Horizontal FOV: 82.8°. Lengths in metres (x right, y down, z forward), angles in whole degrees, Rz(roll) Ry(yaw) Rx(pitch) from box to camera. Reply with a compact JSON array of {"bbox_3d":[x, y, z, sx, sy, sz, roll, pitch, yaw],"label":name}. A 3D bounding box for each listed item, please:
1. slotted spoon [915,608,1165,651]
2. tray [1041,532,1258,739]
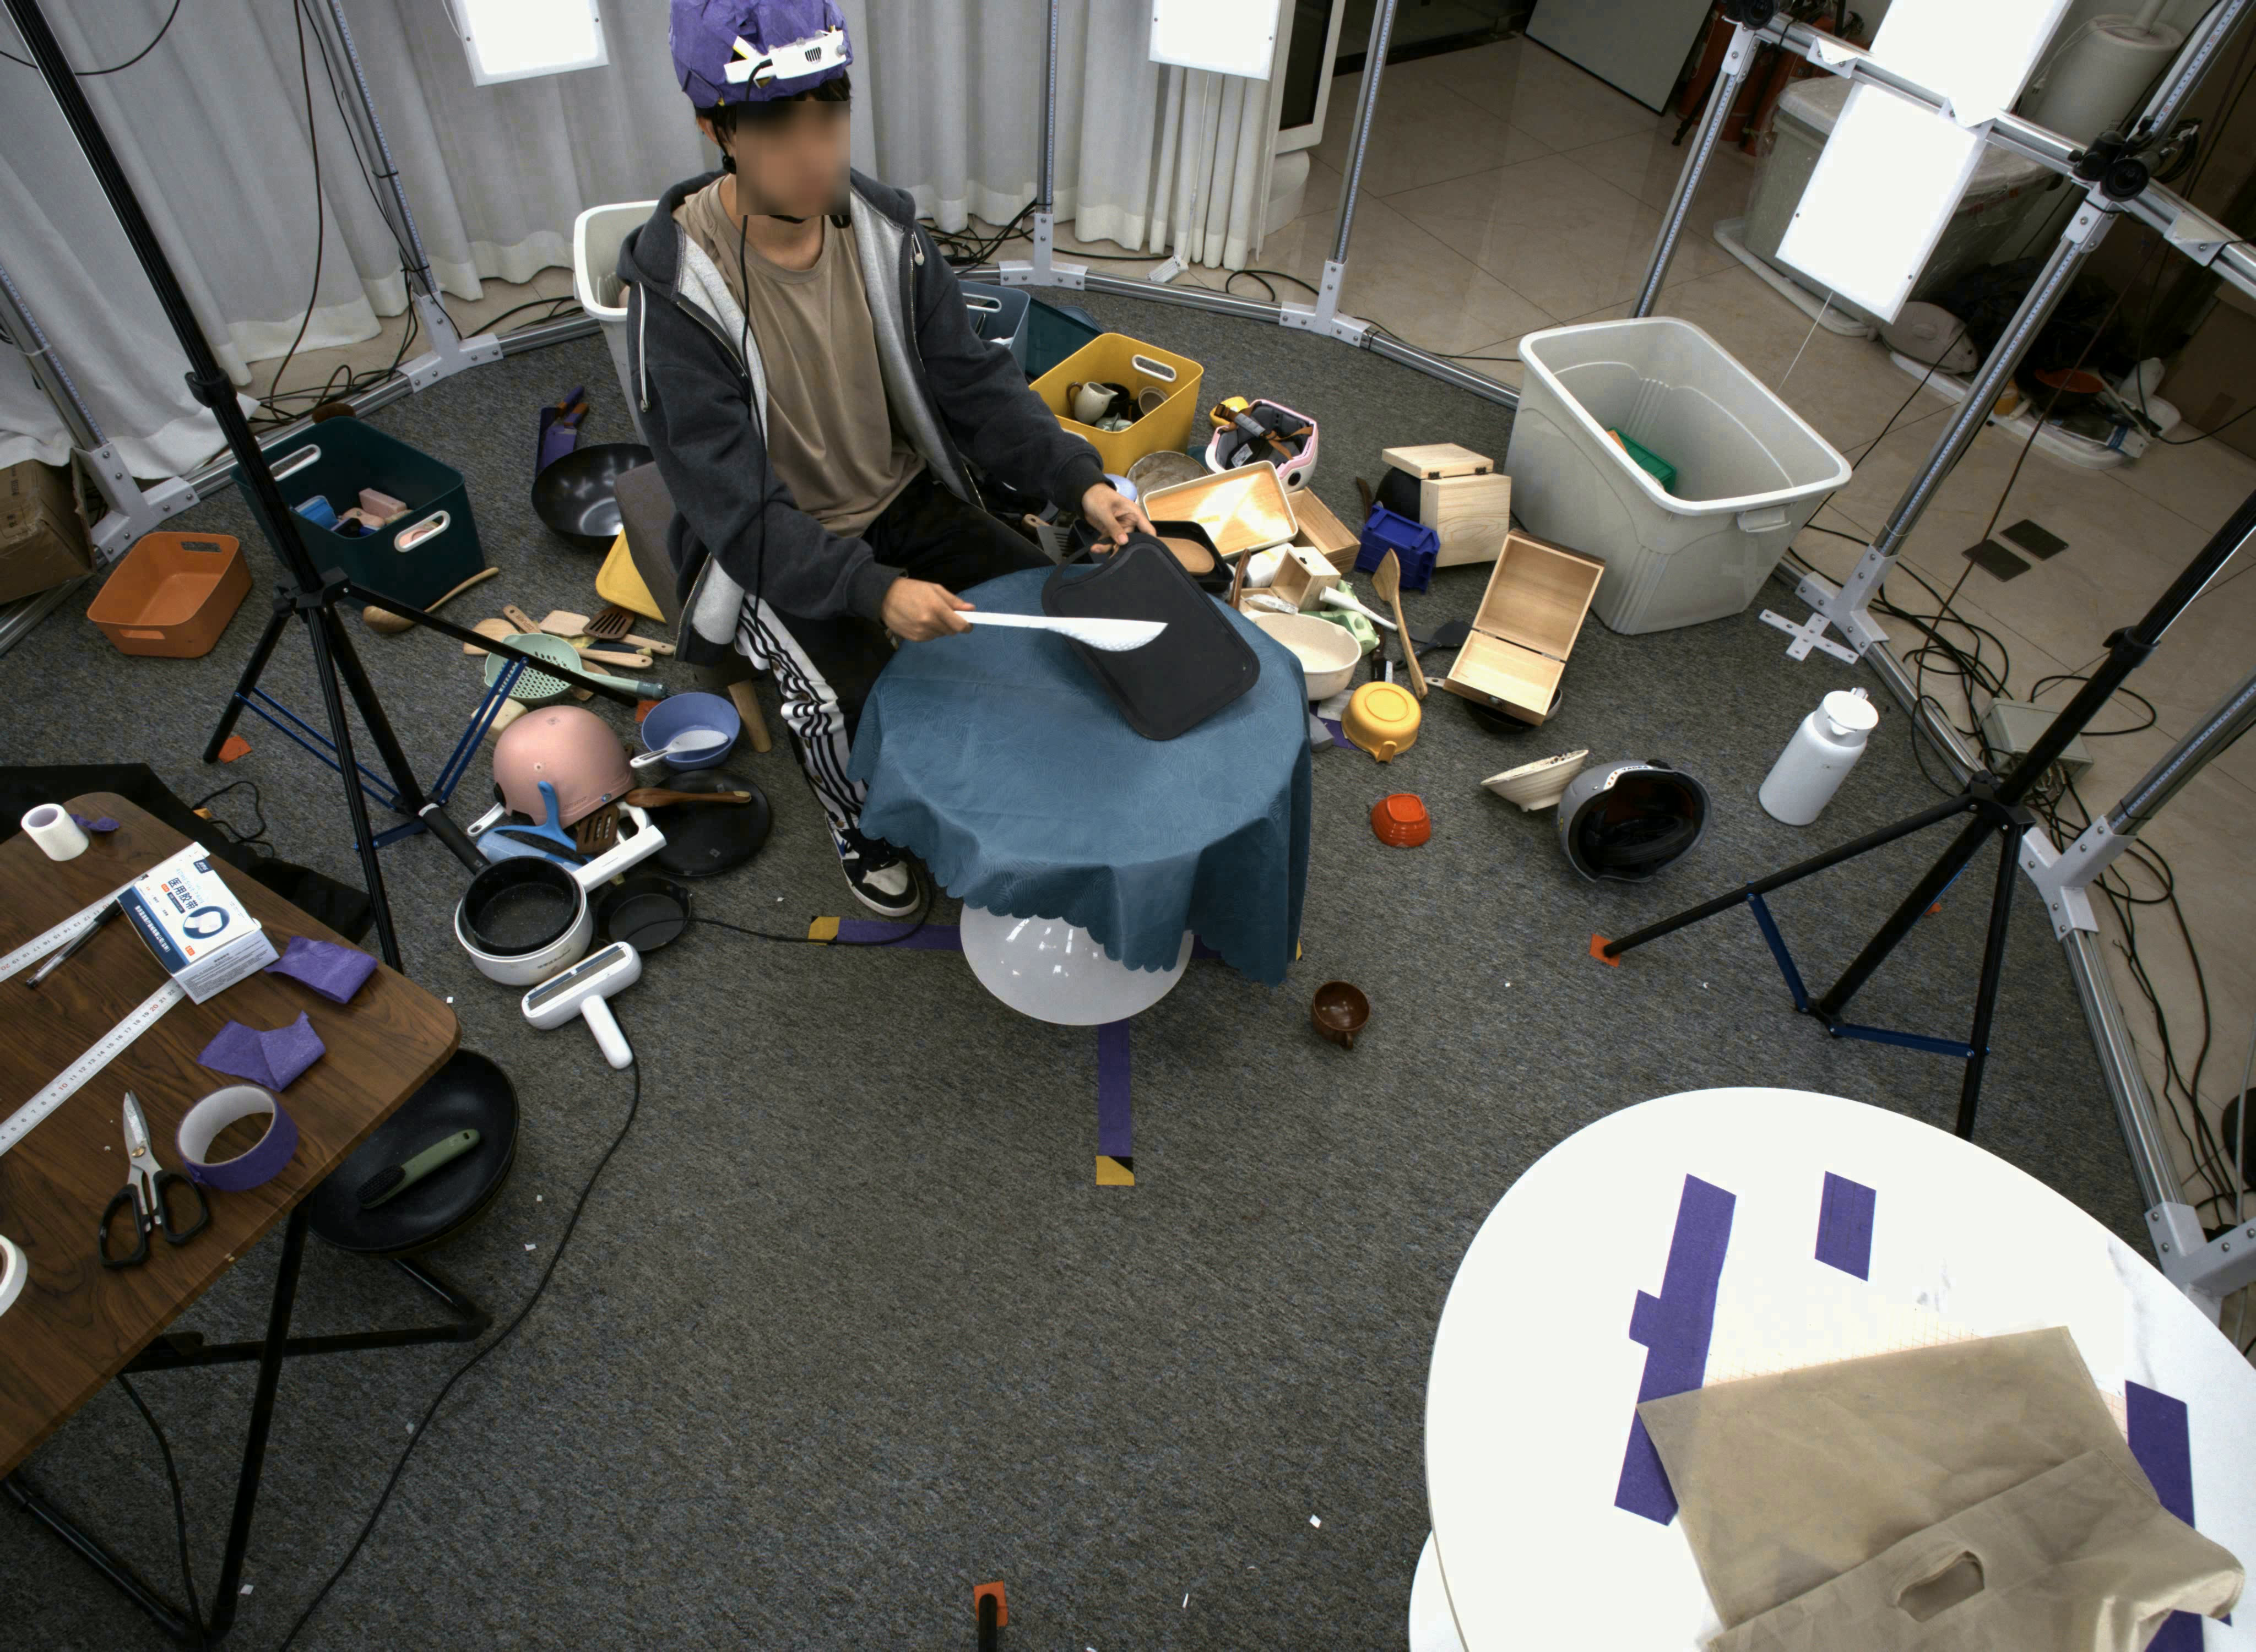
[{"bbox_3d":[-0.122,-0.275,1.730,0.351,0.045,0.136,11,11,16],"label":"slotted spoon"},{"bbox_3d":[0.024,-0.283,1.839,0.212,0.009,0.330,-32,71,-13],"label":"tray"}]
